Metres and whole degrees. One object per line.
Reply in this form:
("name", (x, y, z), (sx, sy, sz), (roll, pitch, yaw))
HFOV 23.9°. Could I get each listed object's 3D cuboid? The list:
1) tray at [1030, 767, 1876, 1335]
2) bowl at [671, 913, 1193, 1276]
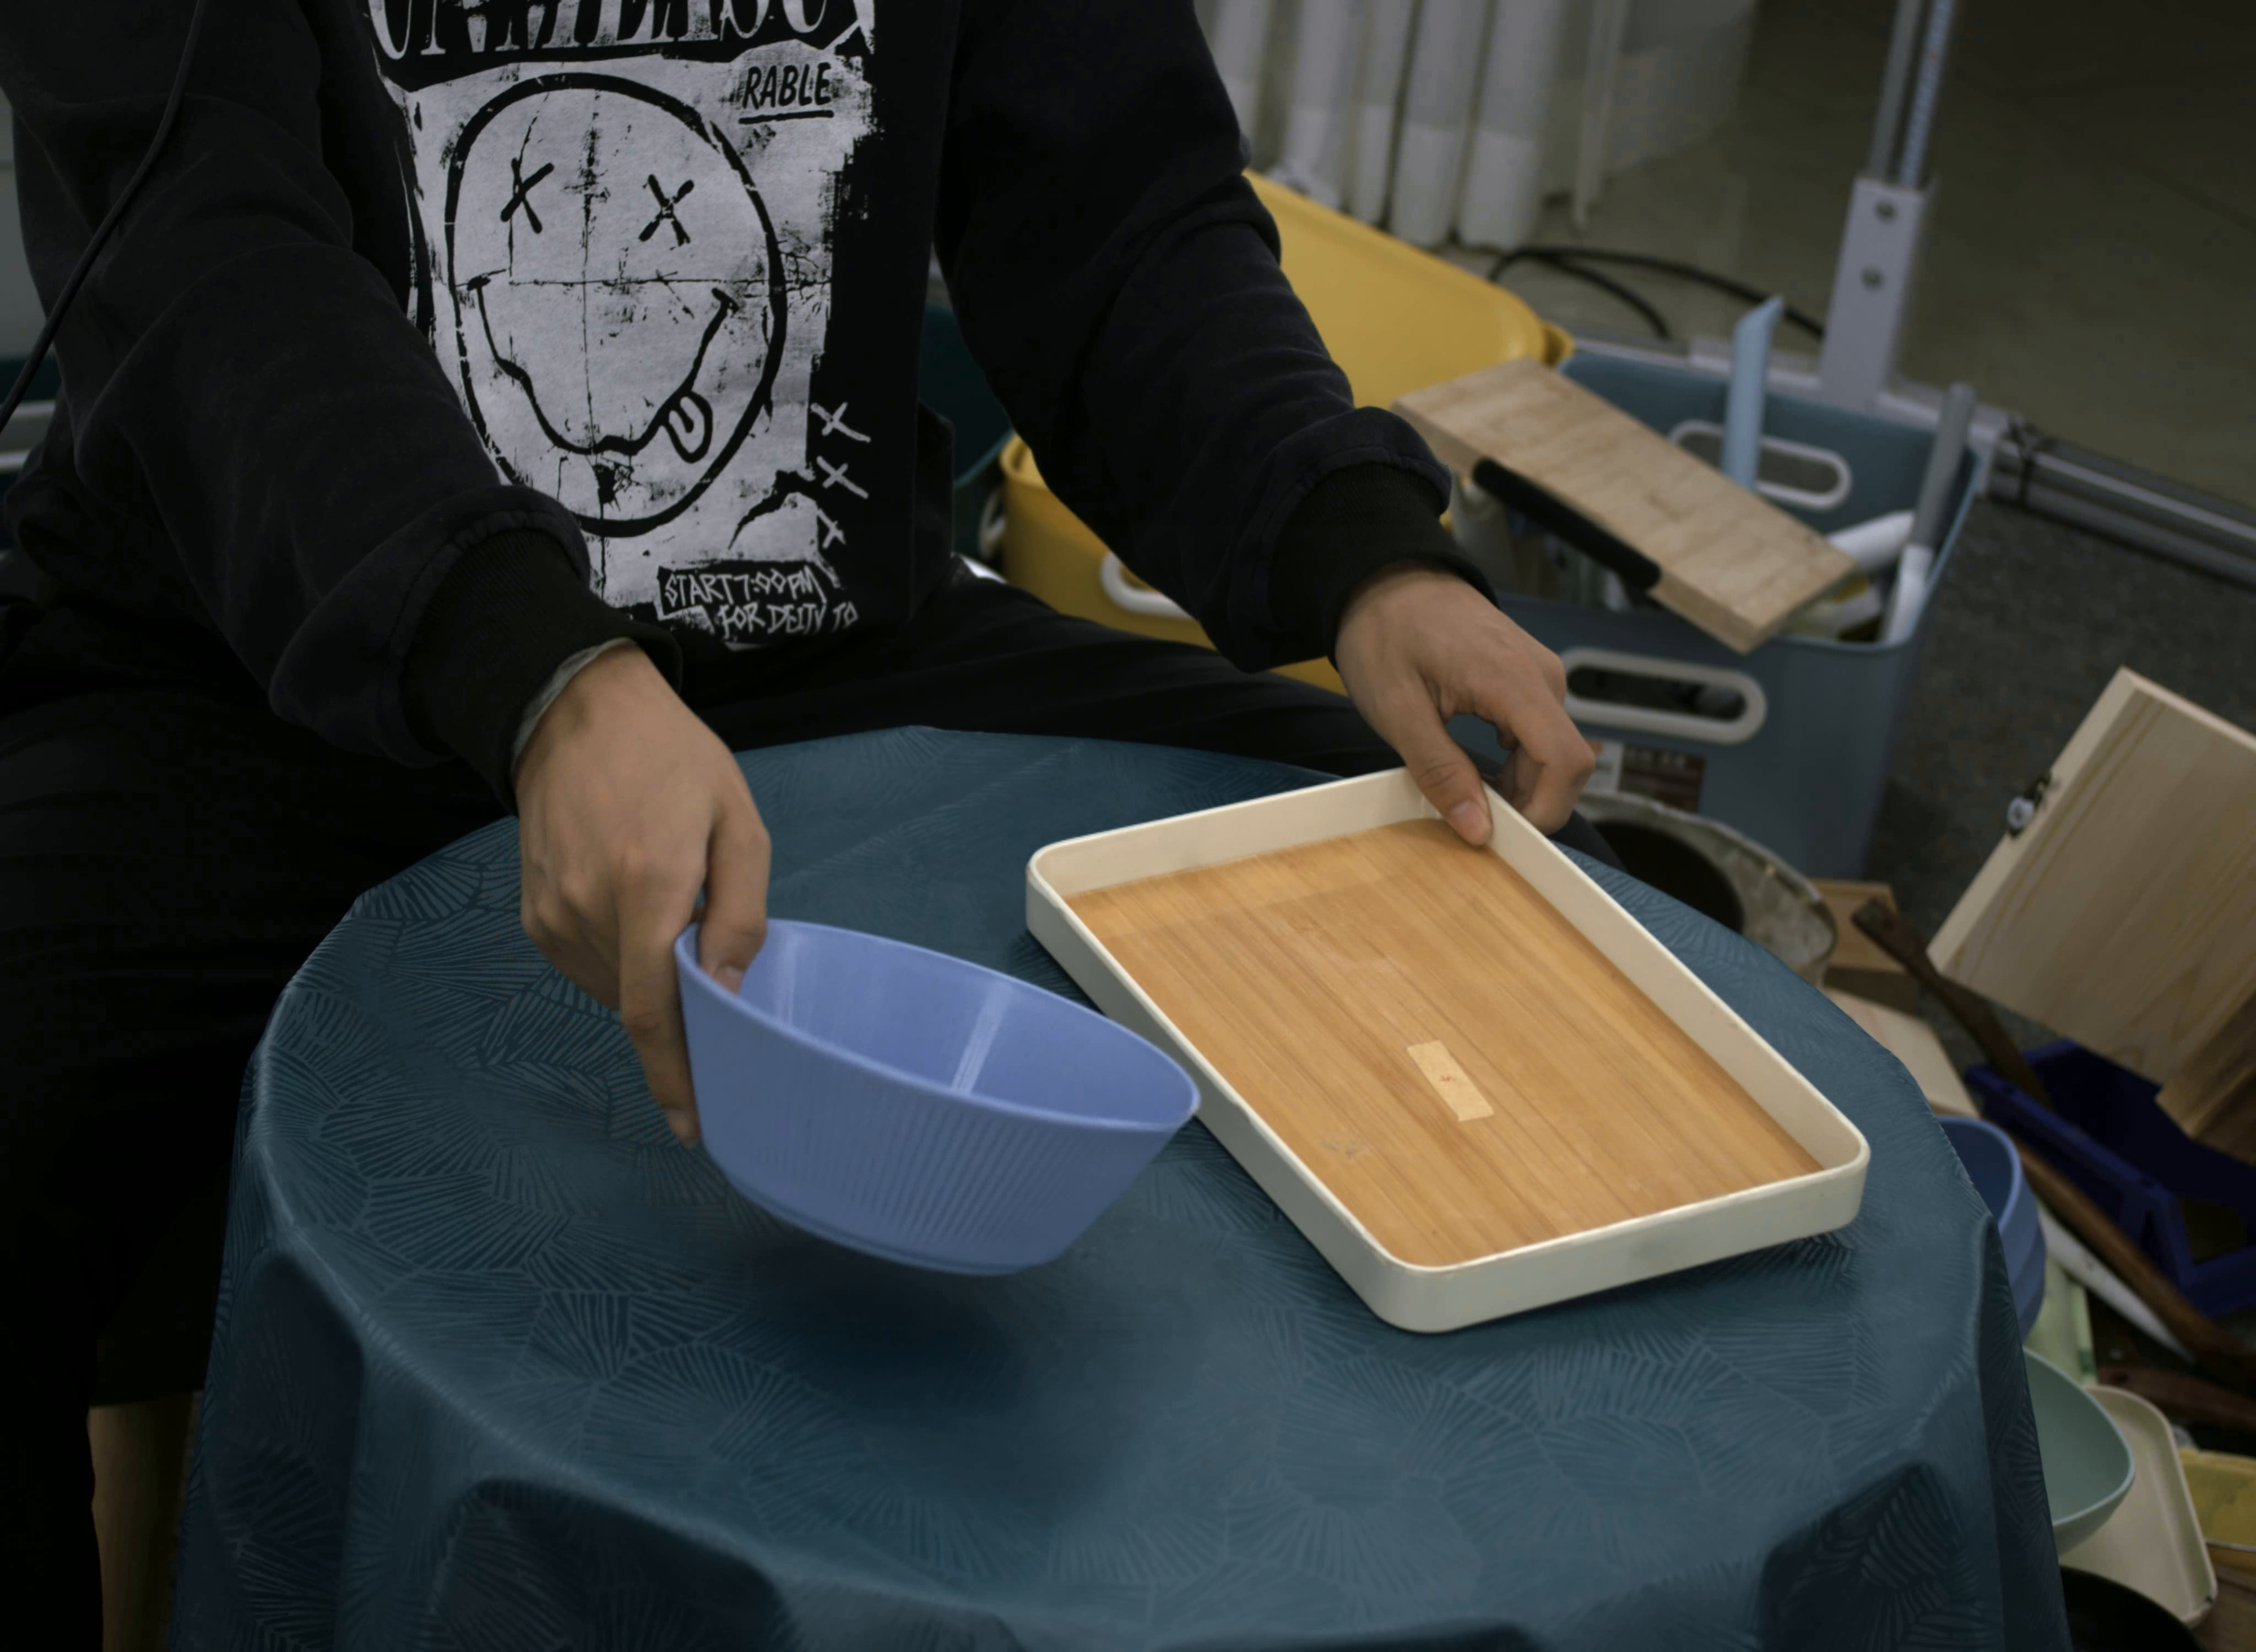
("tray", (0.108, 0.073, 1.876), (0.190, 0.027, 0.303), (-12, 33, -23))
("bowl", (-0.072, 0.090, 1.702), (0.175, 0.070, 0.176), (18, 11, -4))
